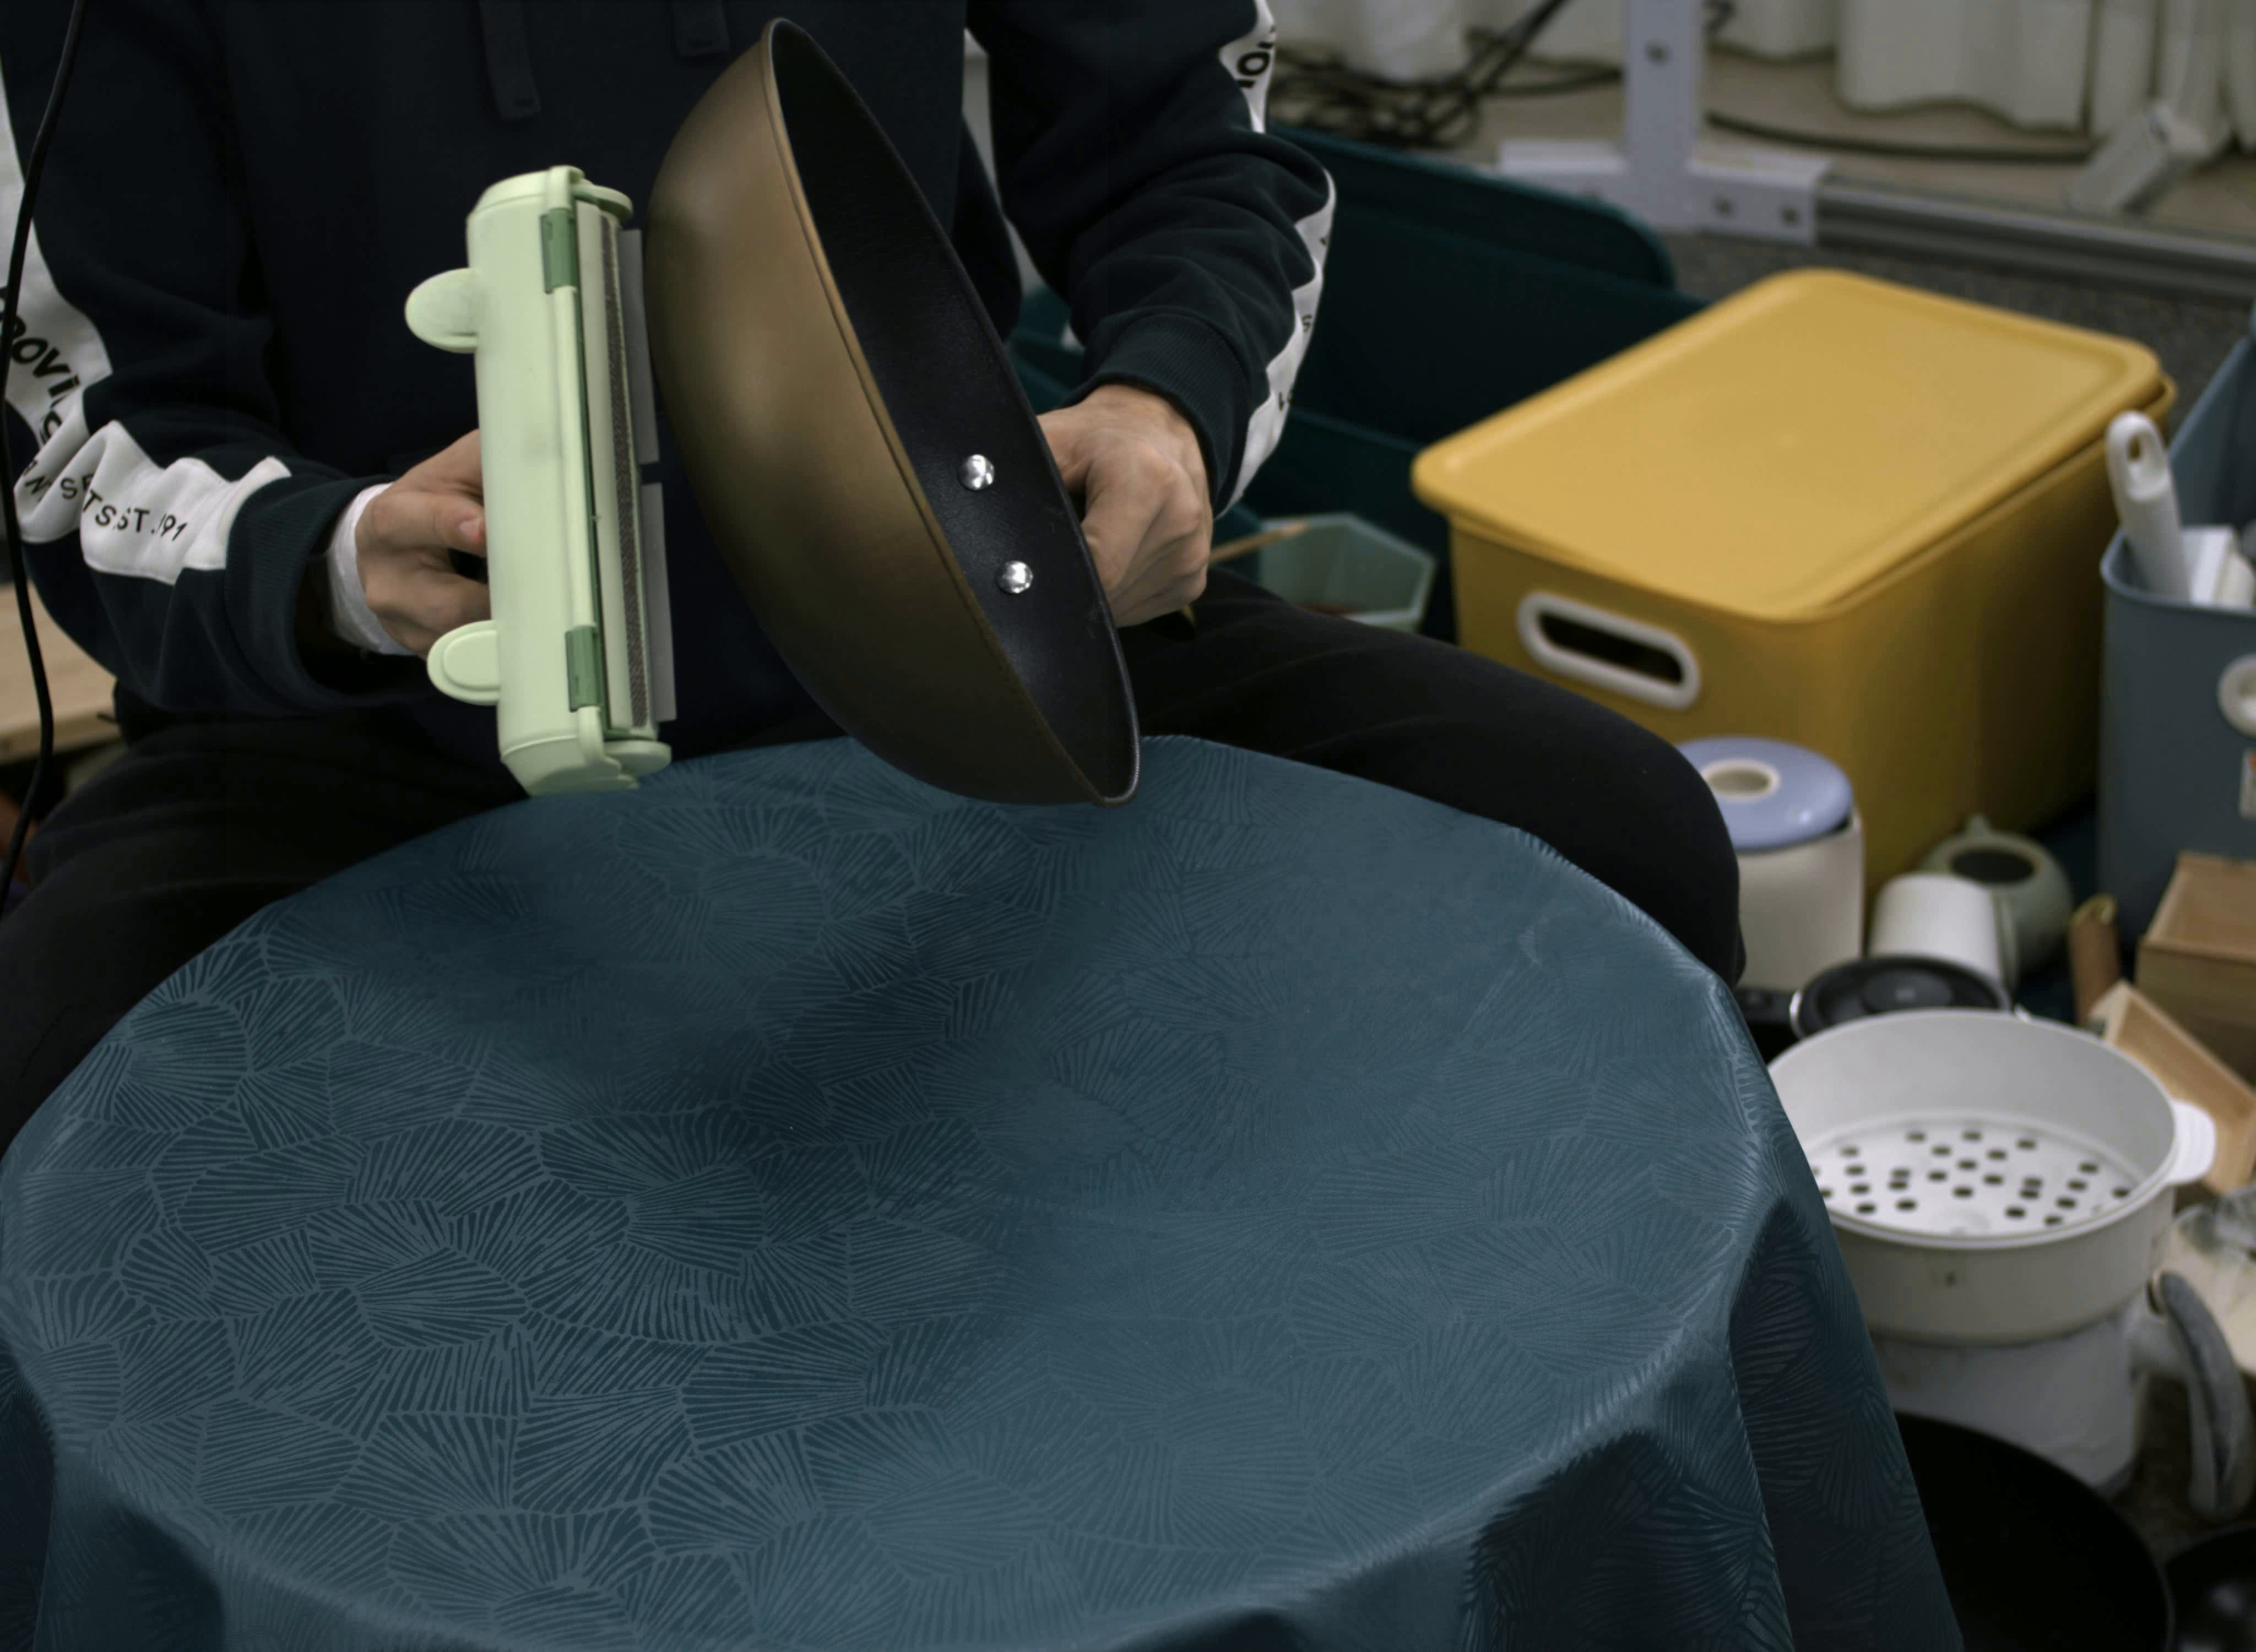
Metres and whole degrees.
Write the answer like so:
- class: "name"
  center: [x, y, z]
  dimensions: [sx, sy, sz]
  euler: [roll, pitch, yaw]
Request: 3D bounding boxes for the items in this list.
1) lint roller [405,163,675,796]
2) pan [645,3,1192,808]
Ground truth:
- class: "lint roller"
  center: [-0.209, -0.099, 1.843]
  dimensions: [0.082, 0.201, 0.181]
  euler: [1, -13, -27]
- class: "pan"
  center: [-0.067, -0.109, 1.947]
  dimensions: [0.086, 0.291, 0.461]
  euler: [-23, -15, 9]
